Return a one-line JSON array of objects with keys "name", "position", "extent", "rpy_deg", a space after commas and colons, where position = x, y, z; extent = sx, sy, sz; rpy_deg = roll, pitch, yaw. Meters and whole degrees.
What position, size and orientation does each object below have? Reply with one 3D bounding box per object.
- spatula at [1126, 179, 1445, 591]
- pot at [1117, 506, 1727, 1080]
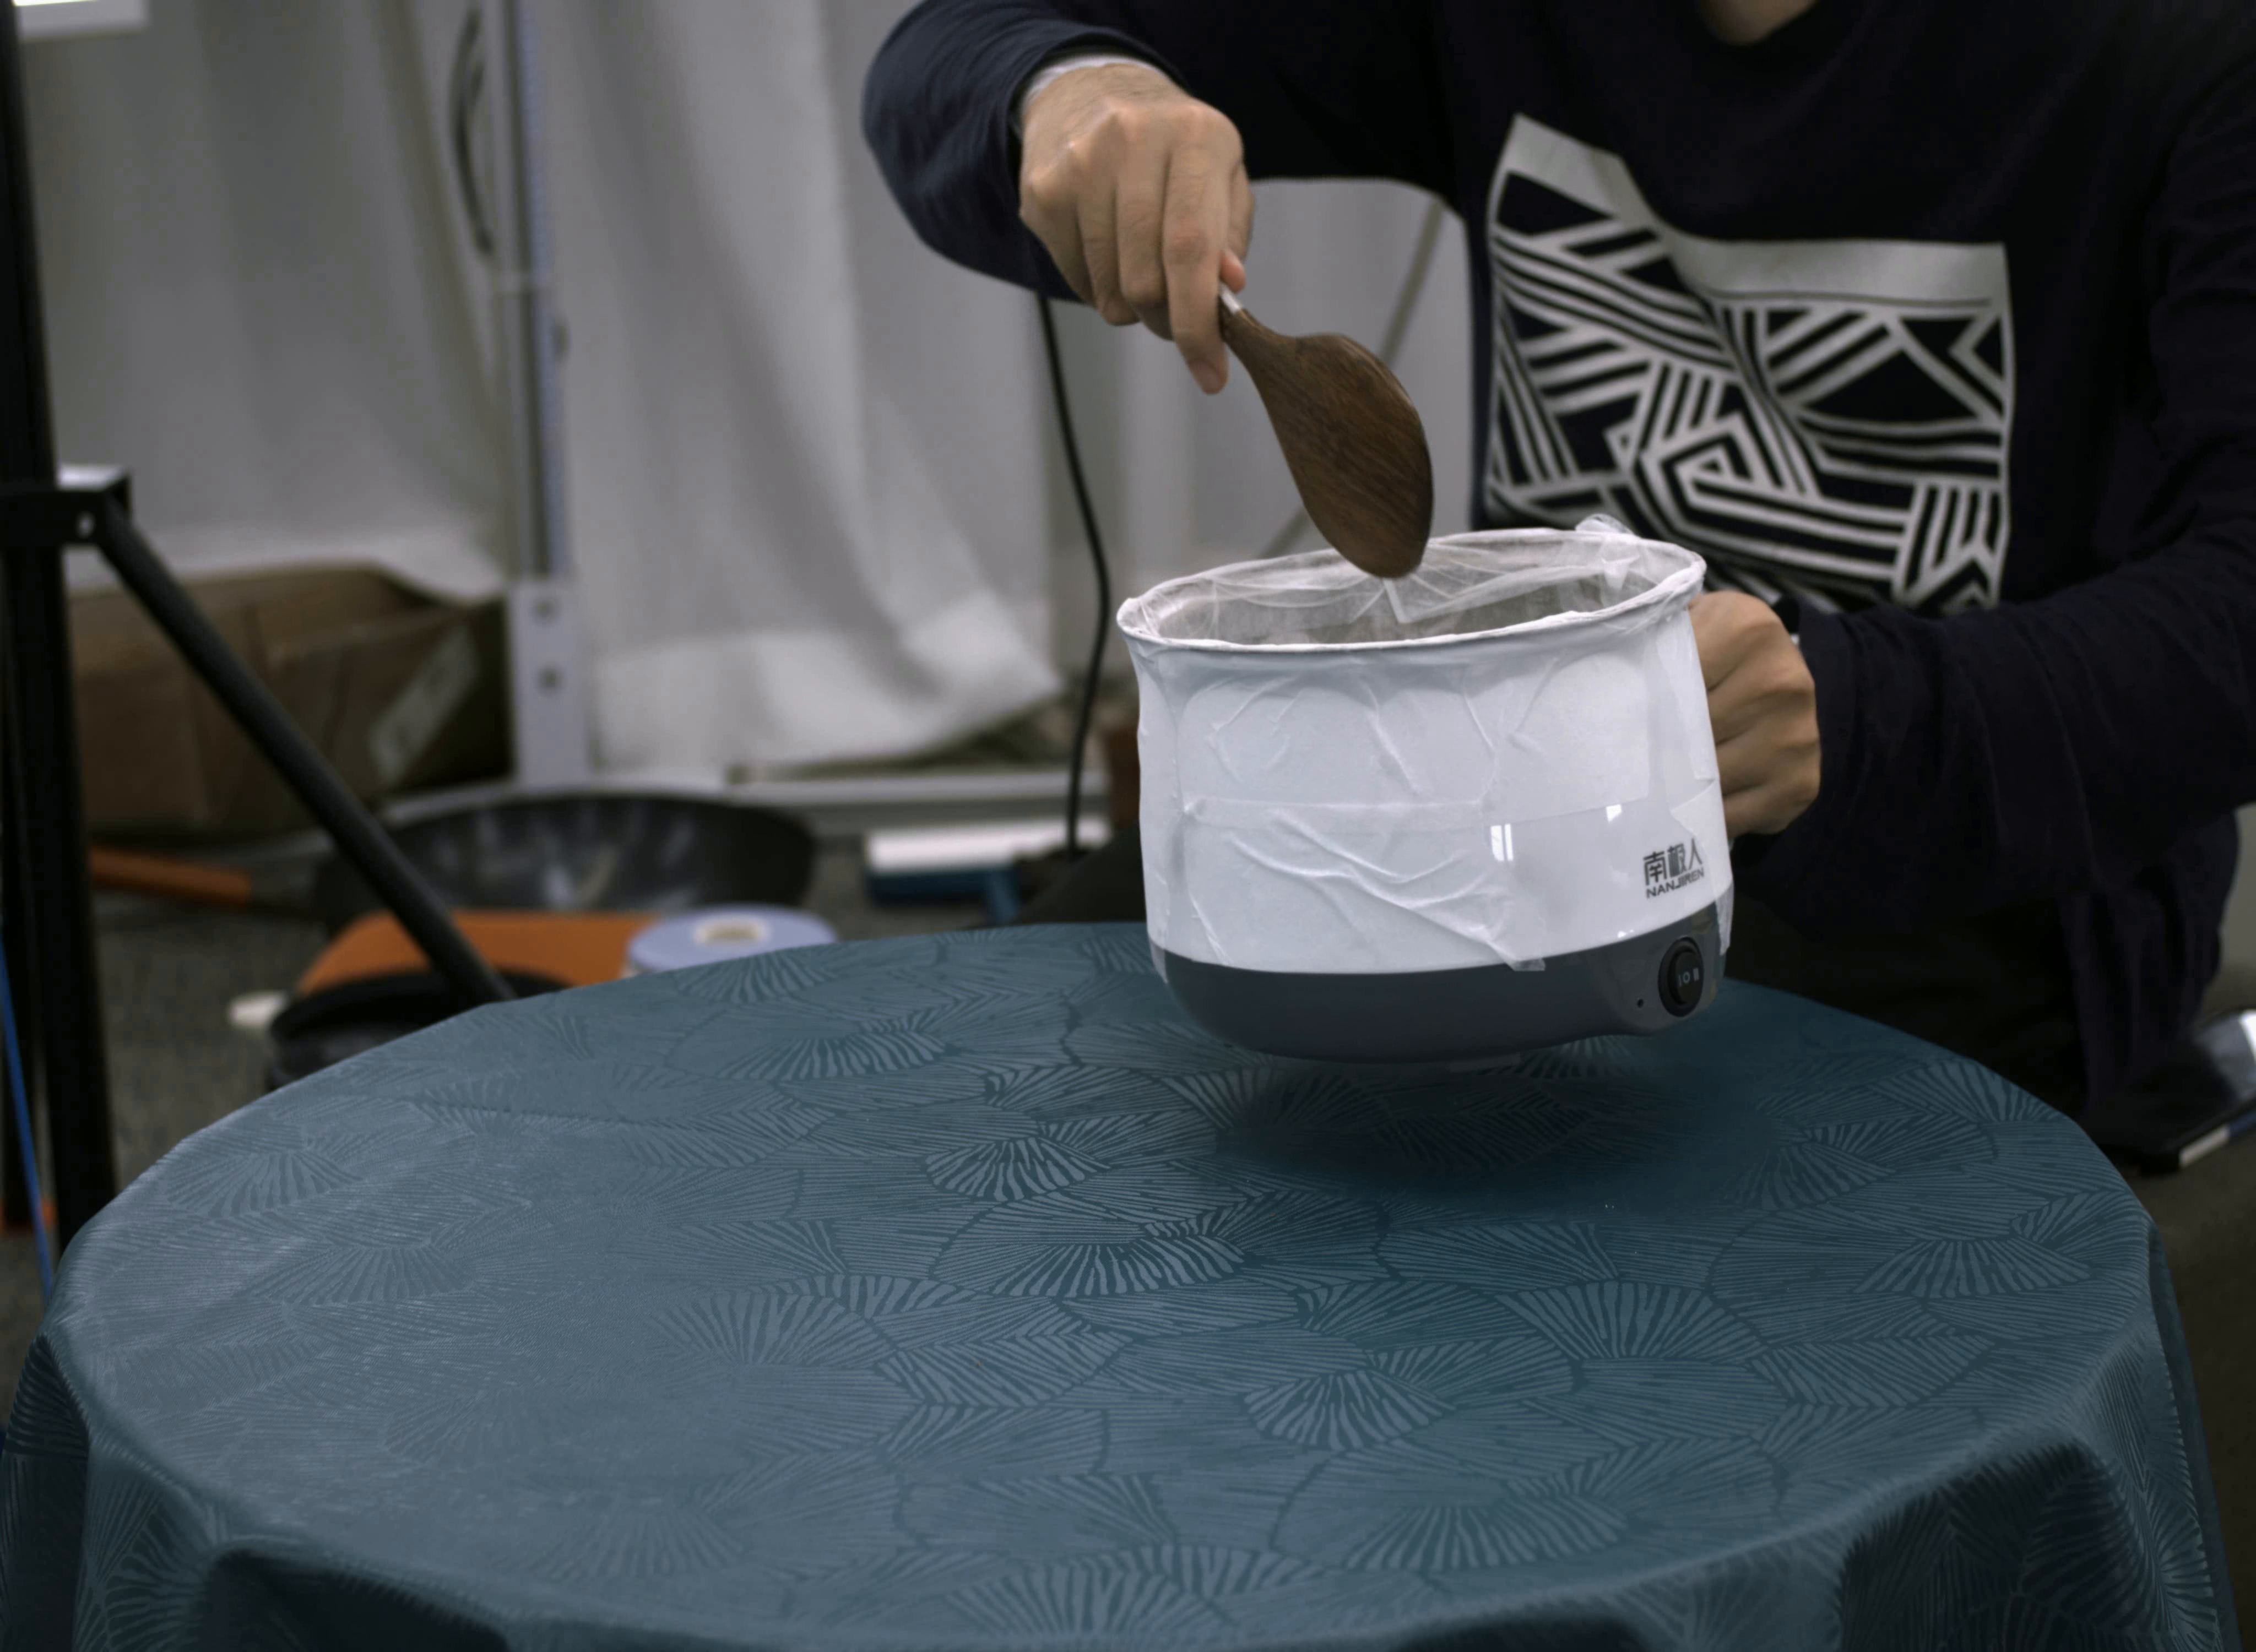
[{"name": "spatula", "position": [0.046, -0.149, 1.674], "extent": [0.009, 0.072, 0.220], "rpy_deg": [-11, 37, -22]}, {"name": "pot", "position": [0.106, -0.016, 1.616], "extent": [0.182, 0.136, 0.229], "rpy_deg": [7, 18, 38]}]
